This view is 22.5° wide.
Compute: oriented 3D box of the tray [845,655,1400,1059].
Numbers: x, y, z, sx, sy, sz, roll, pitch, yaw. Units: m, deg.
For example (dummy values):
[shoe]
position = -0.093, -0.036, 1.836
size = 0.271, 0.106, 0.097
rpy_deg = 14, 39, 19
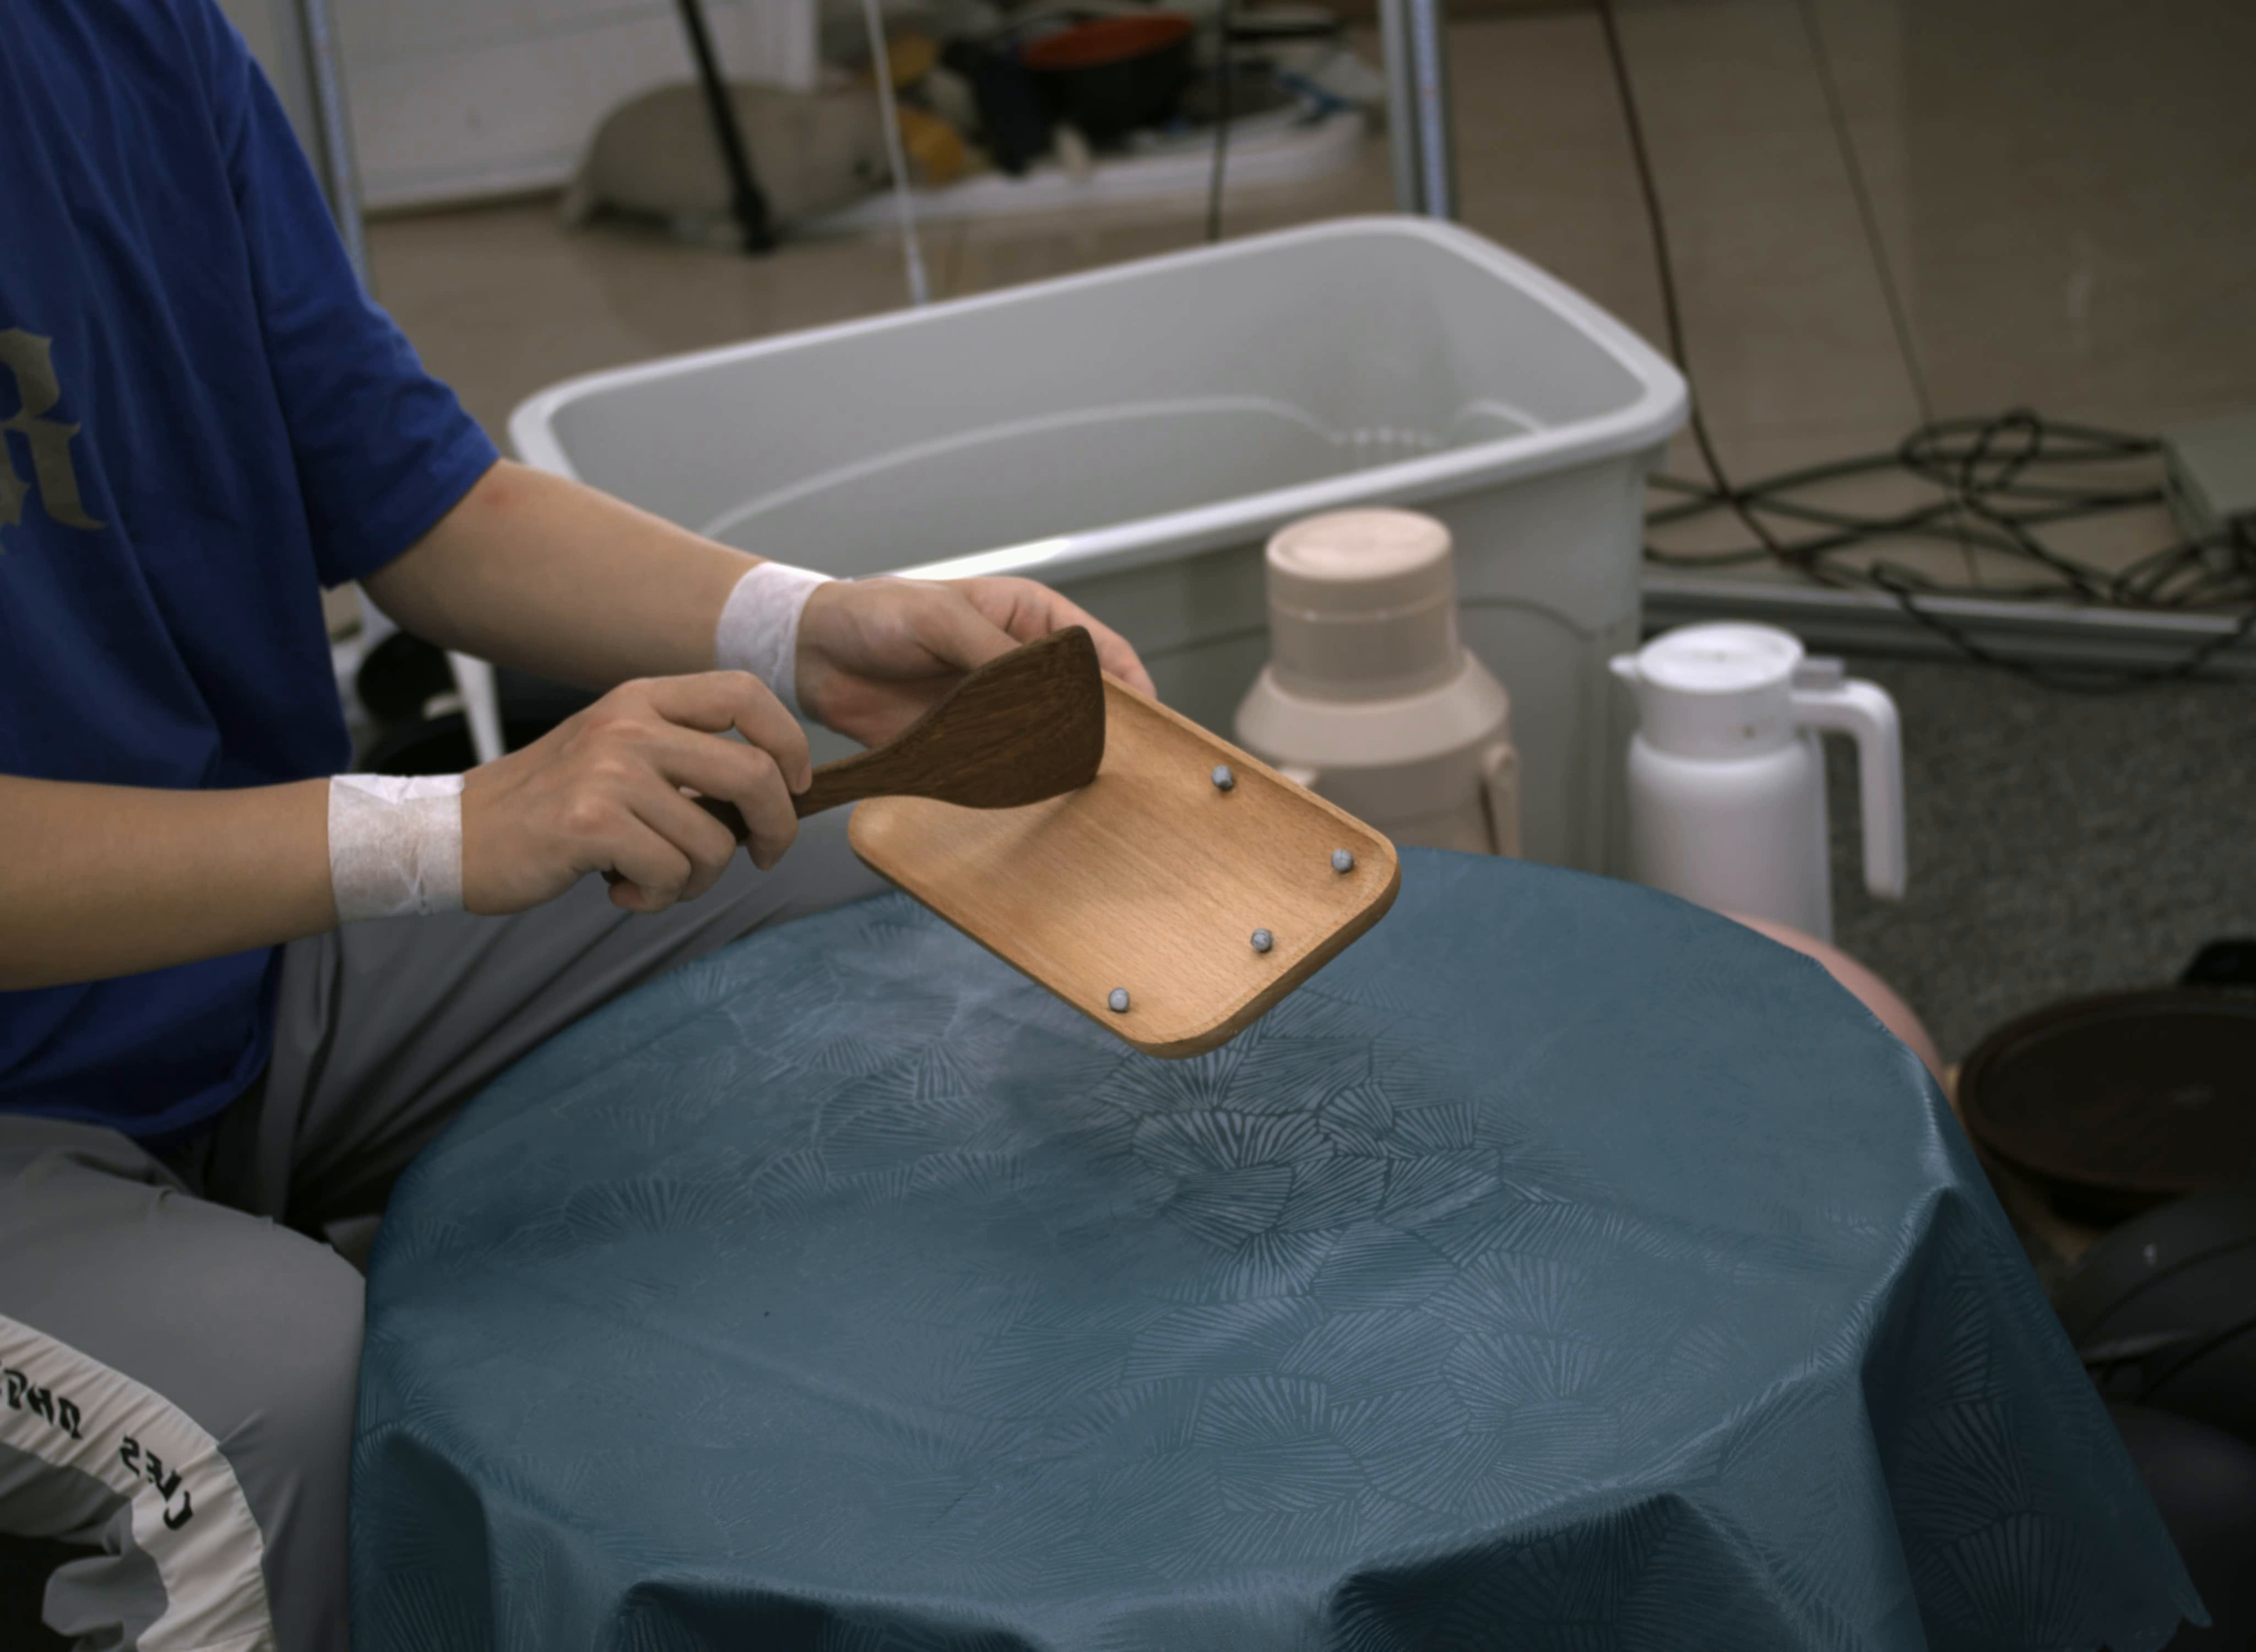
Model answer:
[tray]
position = -0.004, 0.010, 2.173
size = 0.130, 0.023, 0.248
rpy_deg = -36, 37, -16

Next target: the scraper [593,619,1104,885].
[scraper]
position = -0.105, -0.019, 2.168
size = 0.210, 0.077, 0.010
rpy_deg = -18, 39, -14
